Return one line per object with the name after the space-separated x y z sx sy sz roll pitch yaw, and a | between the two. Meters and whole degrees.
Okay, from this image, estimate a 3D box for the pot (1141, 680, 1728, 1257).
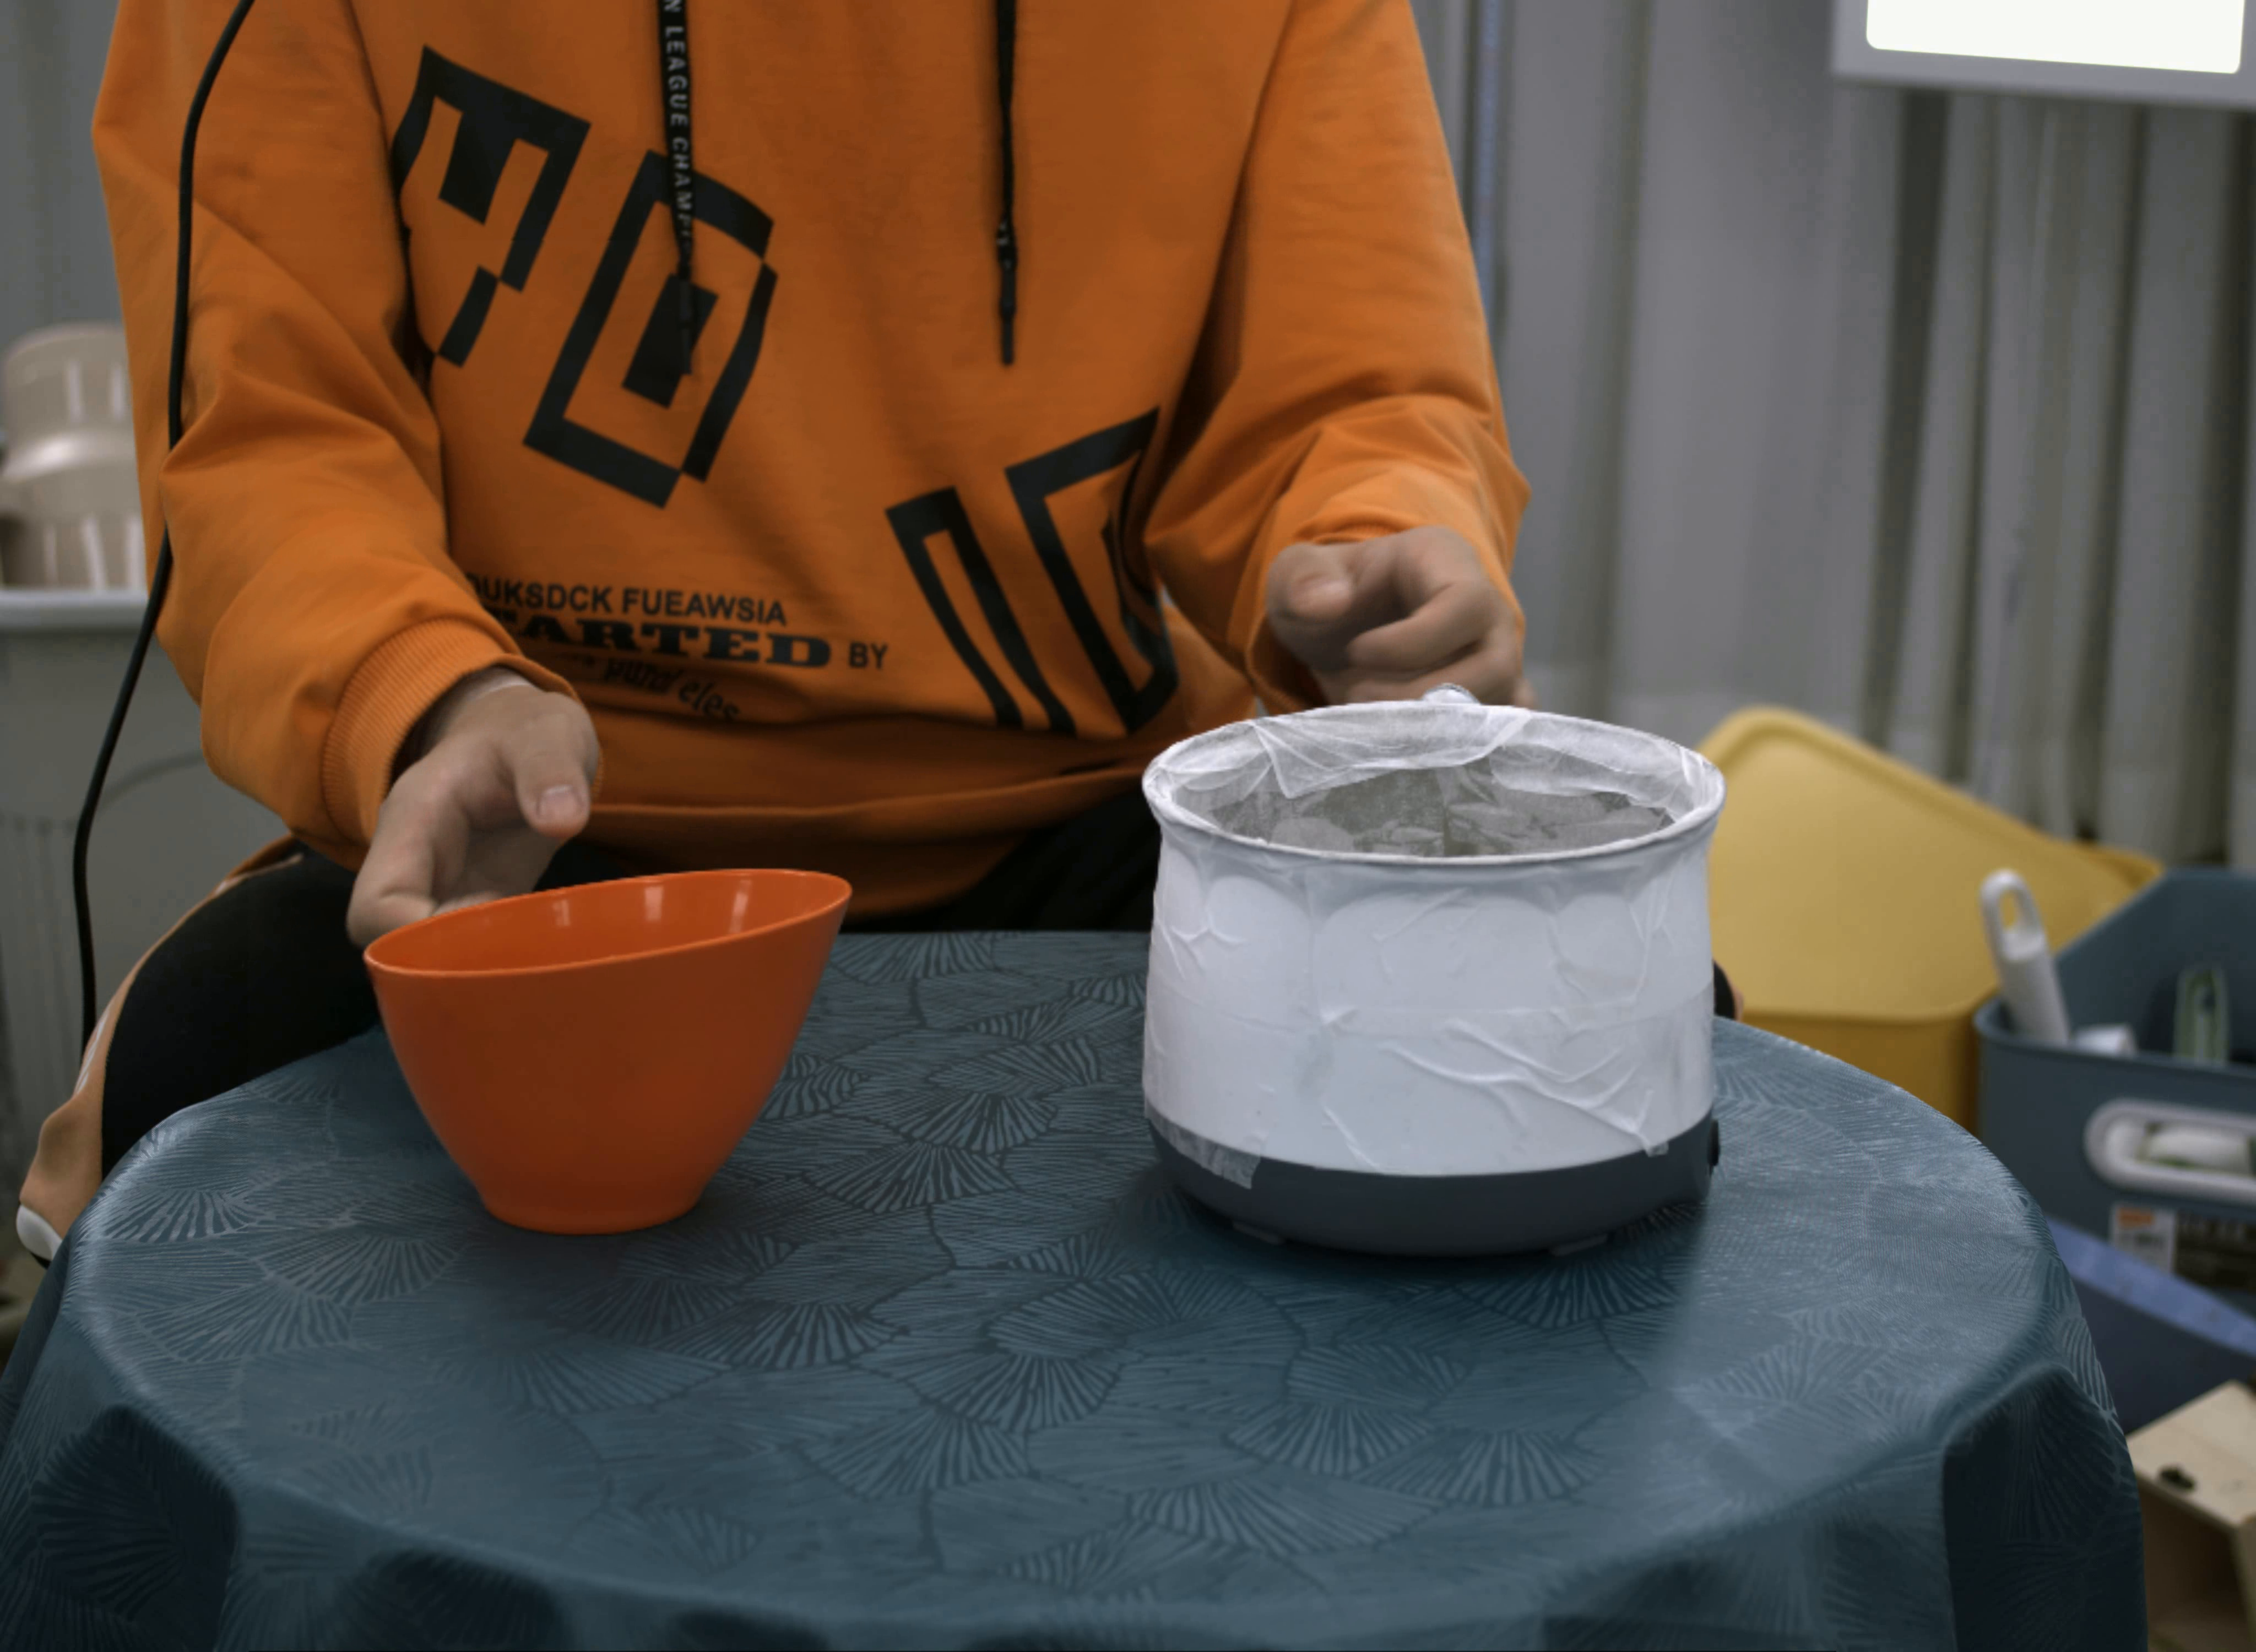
0.094 0.039 1.632 0.178 0.138 0.232 2 16 3 | pot

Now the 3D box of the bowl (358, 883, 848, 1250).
-0.157 0.071 1.589 0.147 0.105 0.147 0 14 1 | bowl
